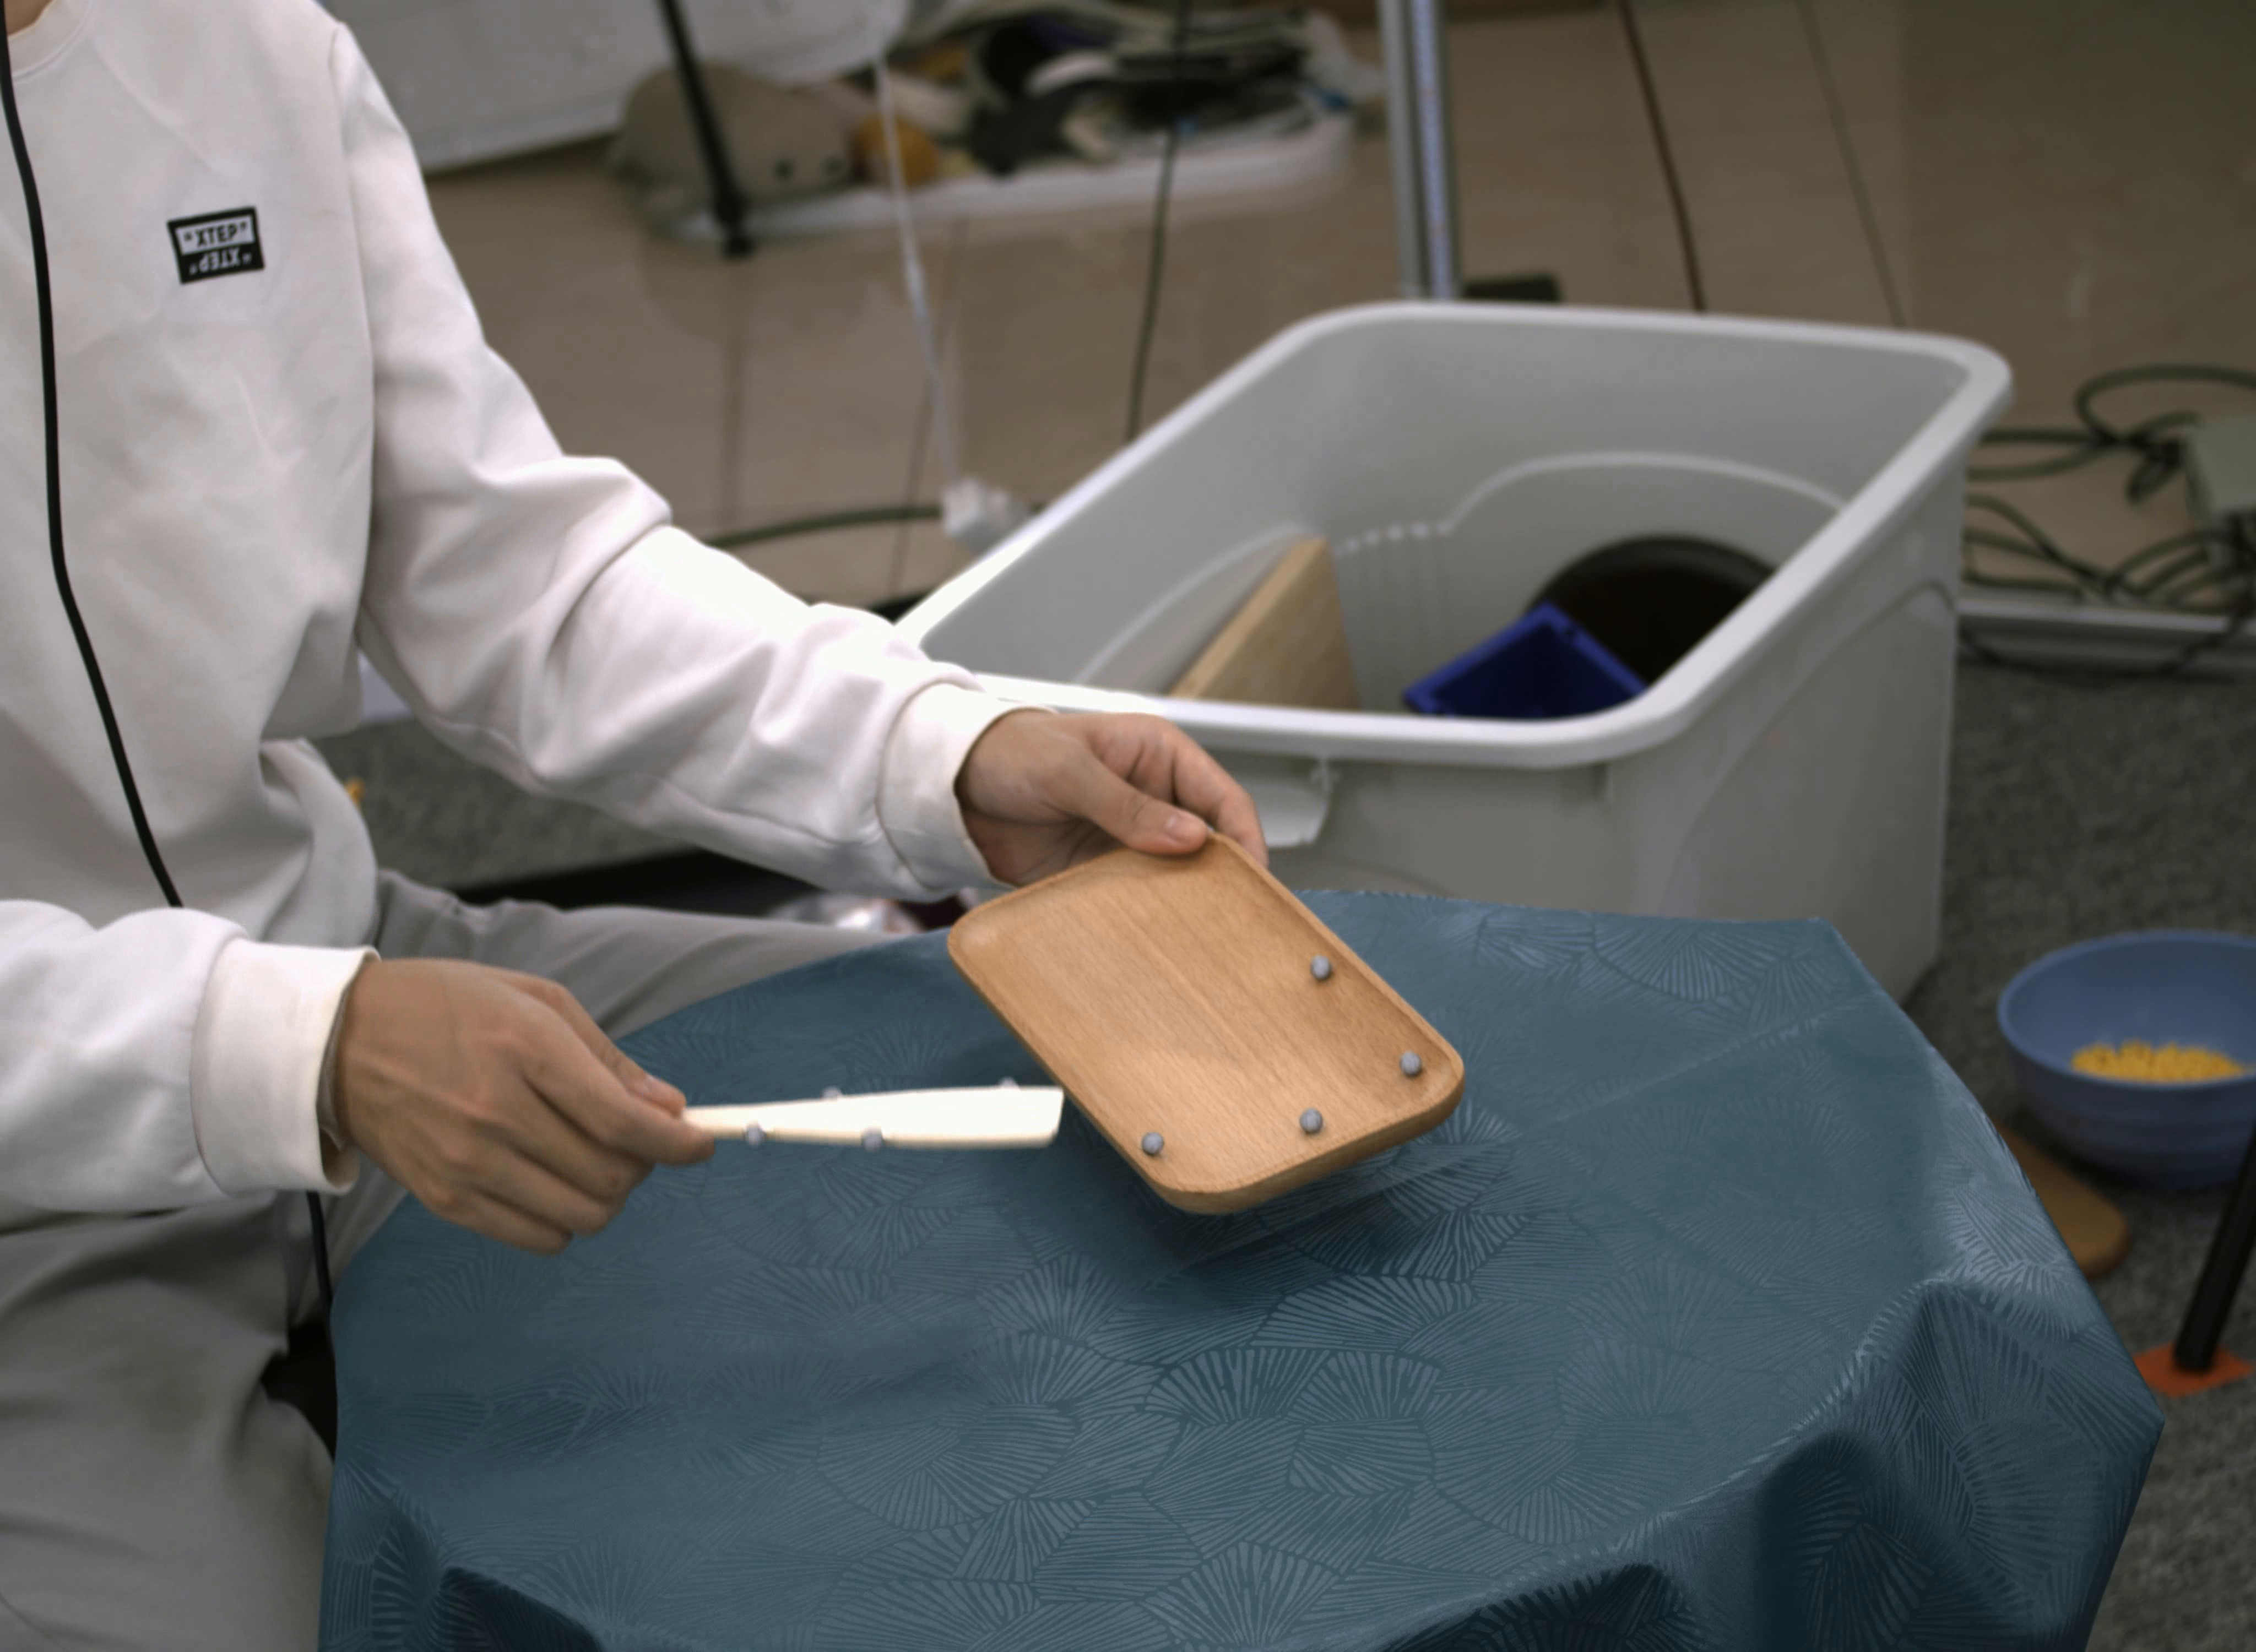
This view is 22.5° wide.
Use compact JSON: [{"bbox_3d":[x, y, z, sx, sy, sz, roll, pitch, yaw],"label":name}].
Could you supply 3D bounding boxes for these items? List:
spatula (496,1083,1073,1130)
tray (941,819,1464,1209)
[{"bbox_3d":[-0.124,0.101,2.034,0.207,0.005,0.050,-1,13,4],"label":"spatula"},{"bbox_3d":[0.026,0.069,2.163,0.130,0.023,0.247,-19,31,-16],"label":"tray"}]
